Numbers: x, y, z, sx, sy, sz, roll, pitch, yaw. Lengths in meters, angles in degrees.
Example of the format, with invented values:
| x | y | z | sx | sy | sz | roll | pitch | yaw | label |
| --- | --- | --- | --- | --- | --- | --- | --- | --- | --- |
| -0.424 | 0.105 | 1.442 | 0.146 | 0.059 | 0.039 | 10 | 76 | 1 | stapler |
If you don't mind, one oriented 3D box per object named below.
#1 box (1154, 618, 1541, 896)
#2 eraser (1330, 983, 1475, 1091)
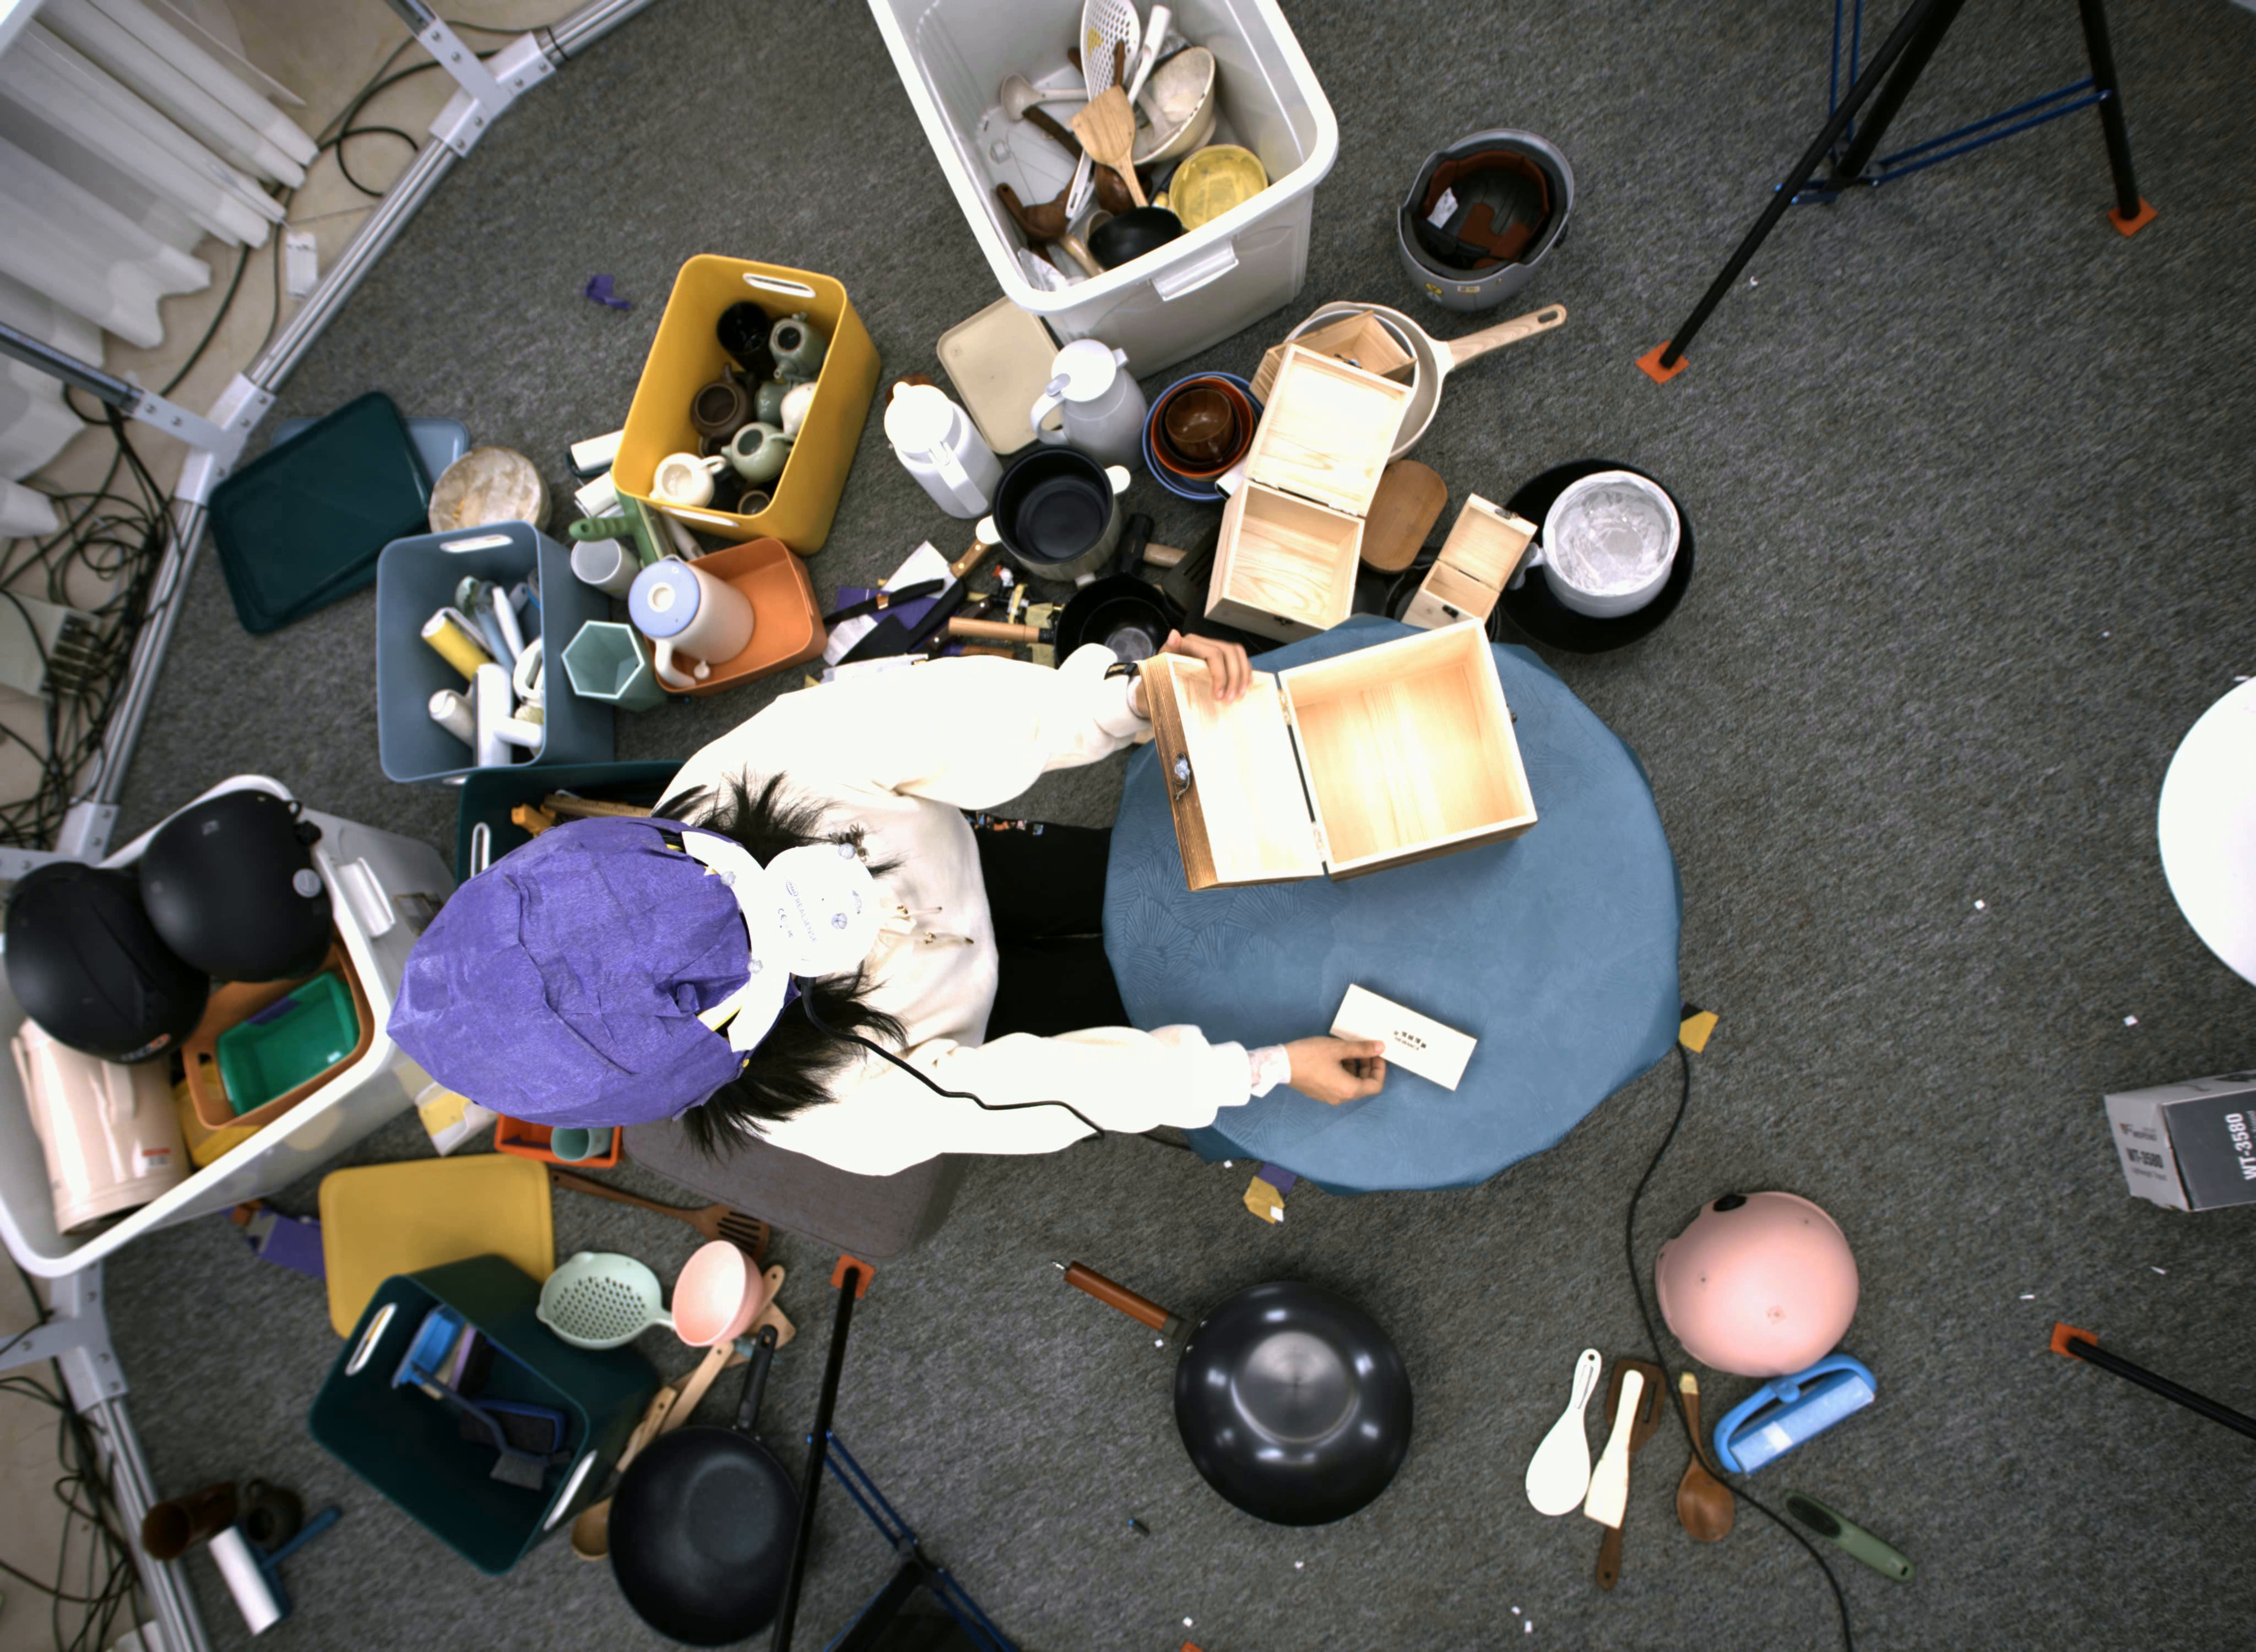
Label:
| x | y | z | sx | sy | sz | roll | pitch | yaw | label |
| --- | --- | --- | --- | --- | --- | --- | --- | --- | --- |
| 0.212 | -0.064 | 1.294 | 0.324 | 0.375 | 0.207 | -15 | 83 | 8 | box |
| 0.284 | 0.216 | 1.435 | 0.139 | 0.029 | 0.057 | 25 | 93 | 12 | eraser |
